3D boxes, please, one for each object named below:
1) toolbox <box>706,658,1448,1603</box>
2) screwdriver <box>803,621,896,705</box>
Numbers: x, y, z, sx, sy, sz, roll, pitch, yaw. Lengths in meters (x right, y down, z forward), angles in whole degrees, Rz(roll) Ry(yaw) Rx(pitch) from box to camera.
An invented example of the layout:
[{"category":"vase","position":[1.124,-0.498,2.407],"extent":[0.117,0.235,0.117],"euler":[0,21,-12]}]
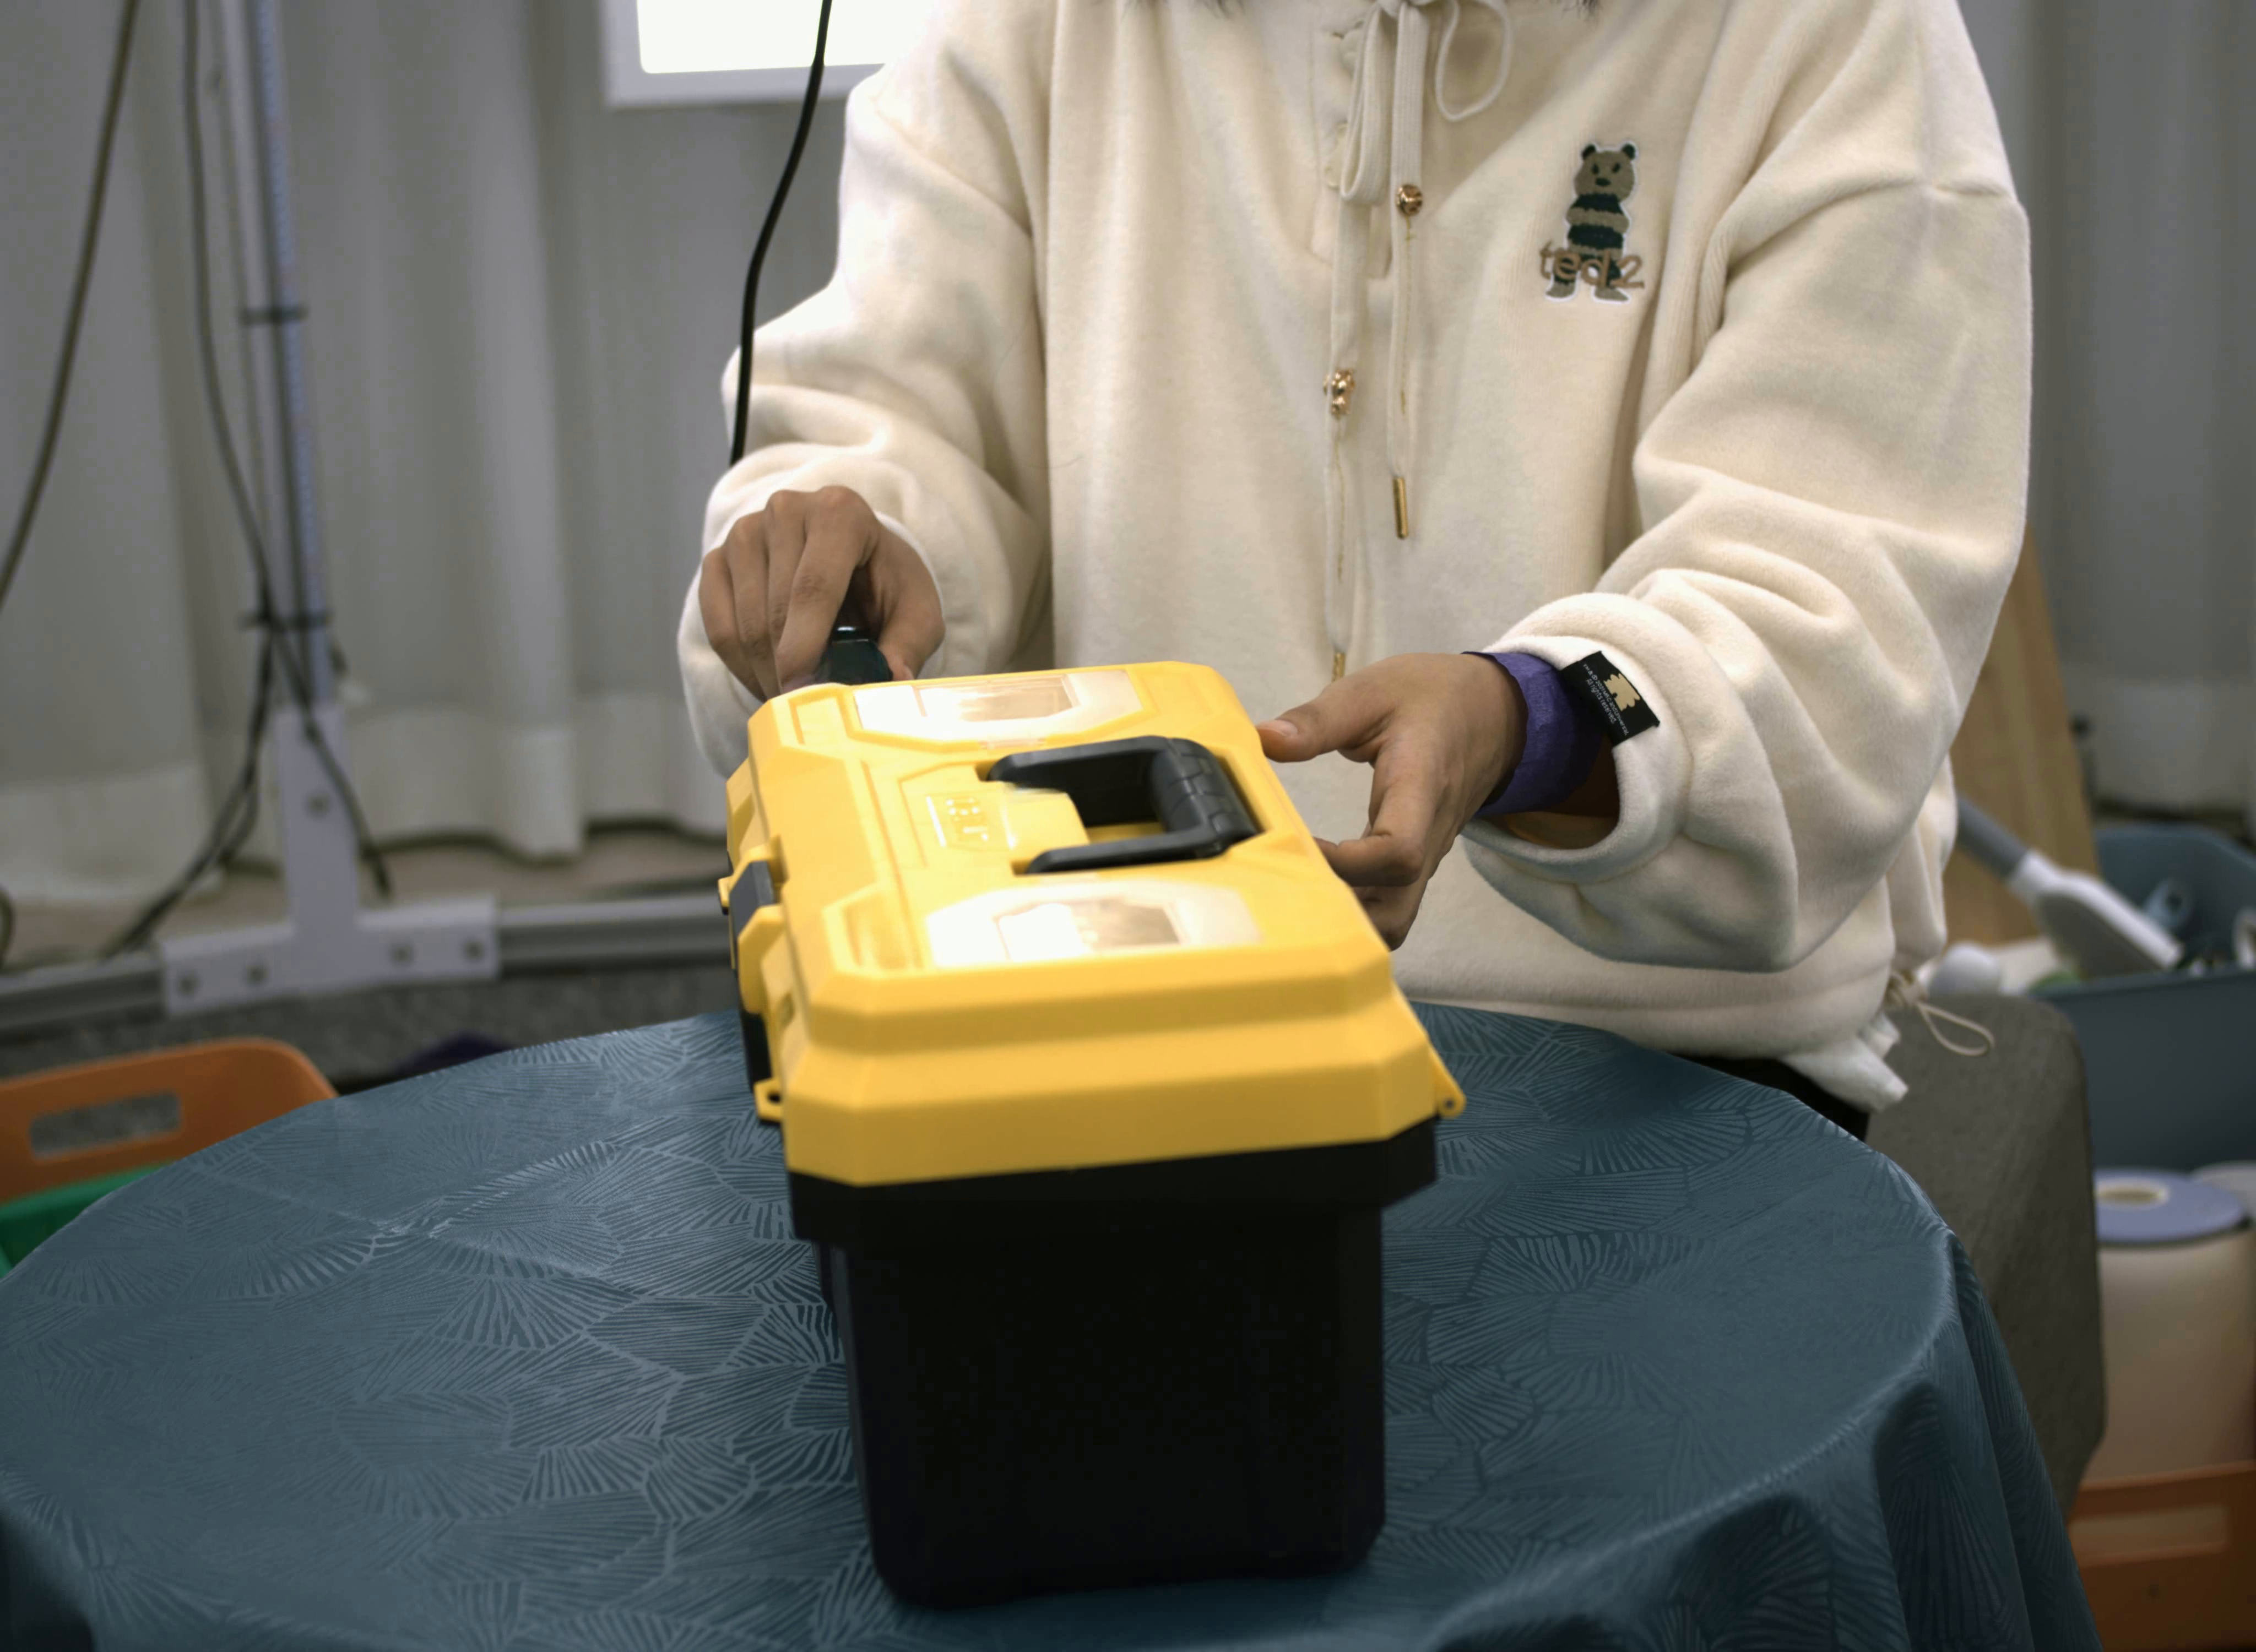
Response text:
[{"category":"toolbox","position":[-0.020,0.075,1.531],"extent":[0.180,0.172,0.354],"euler":[-4,15,-5]},{"category":"screwdriver","position":[-0.090,-0.048,1.779],"extent":[0.033,0.034,0.190],"euler":[-3,4,-3]}]
